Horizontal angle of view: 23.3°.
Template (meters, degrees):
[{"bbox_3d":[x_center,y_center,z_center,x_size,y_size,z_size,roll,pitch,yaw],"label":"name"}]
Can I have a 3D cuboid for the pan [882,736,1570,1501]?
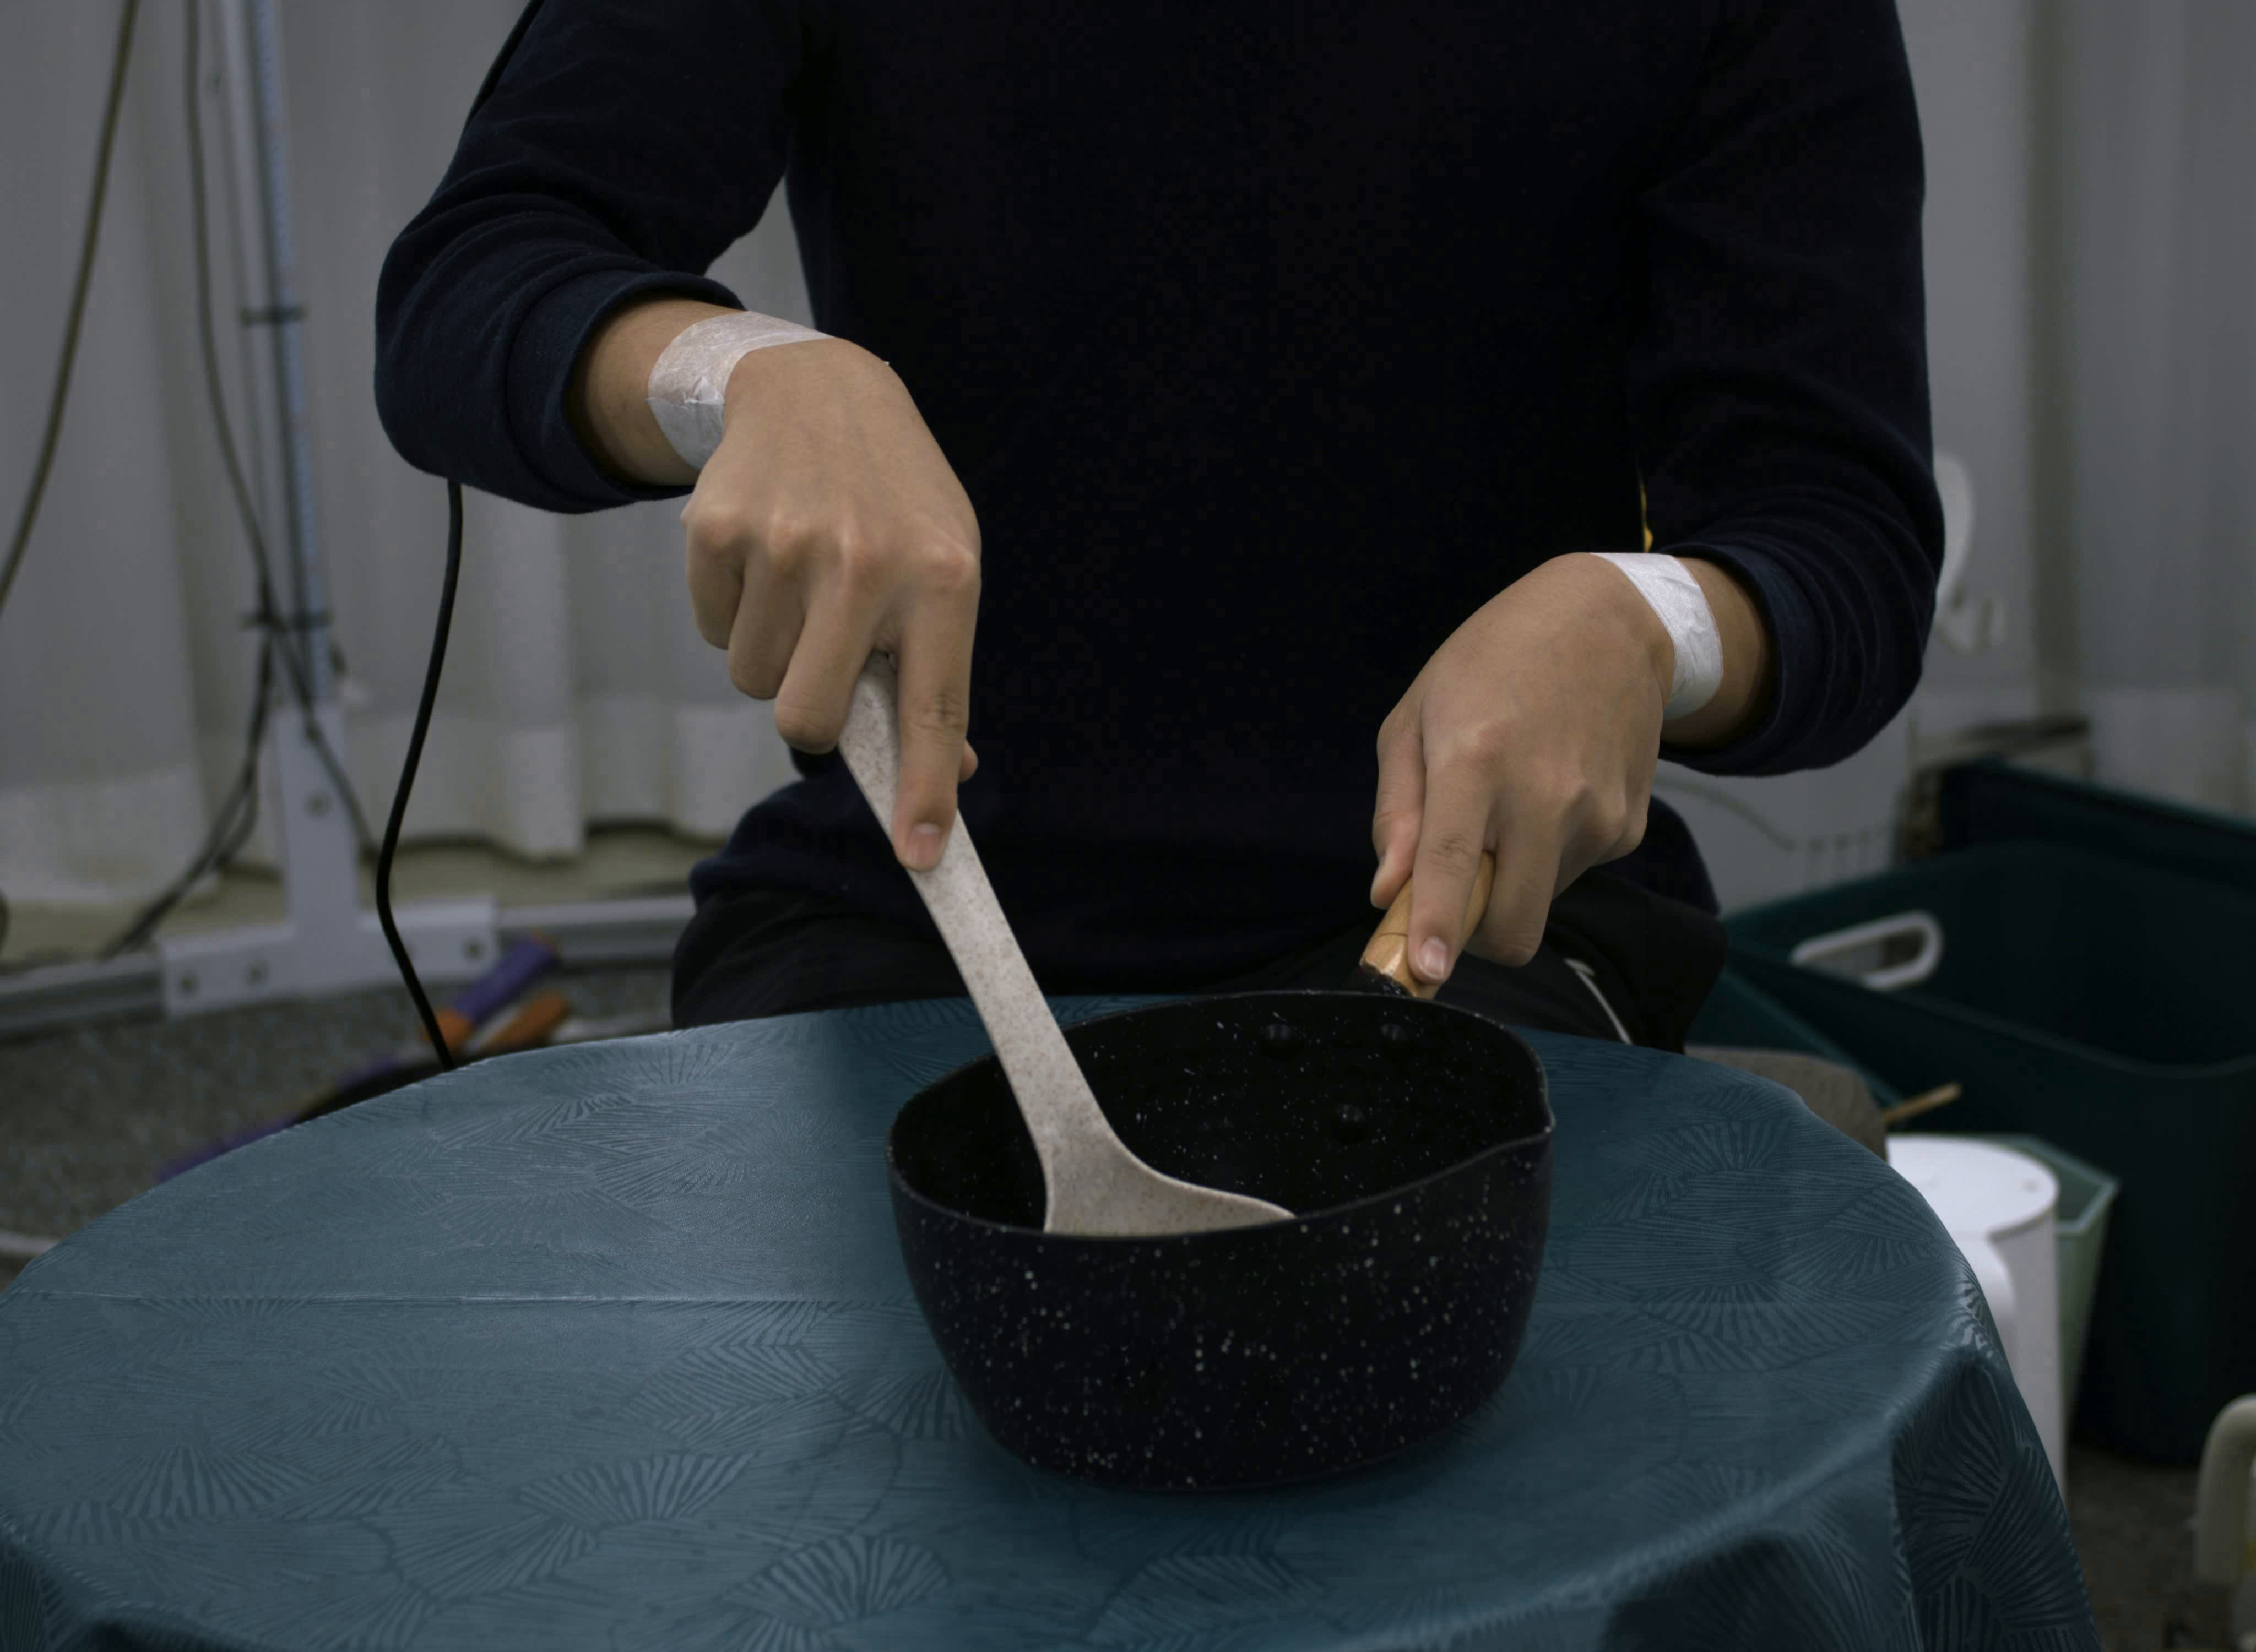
[{"bbox_3d":[0.058,0.080,1.586,0.207,0.107,0.344,0,20,25],"label":"pan"}]

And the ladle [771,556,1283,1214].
[{"bbox_3d":[-0.035,0.034,1.546,0.089,0.277,0.069,-23,-13,-15],"label":"ladle"}]
